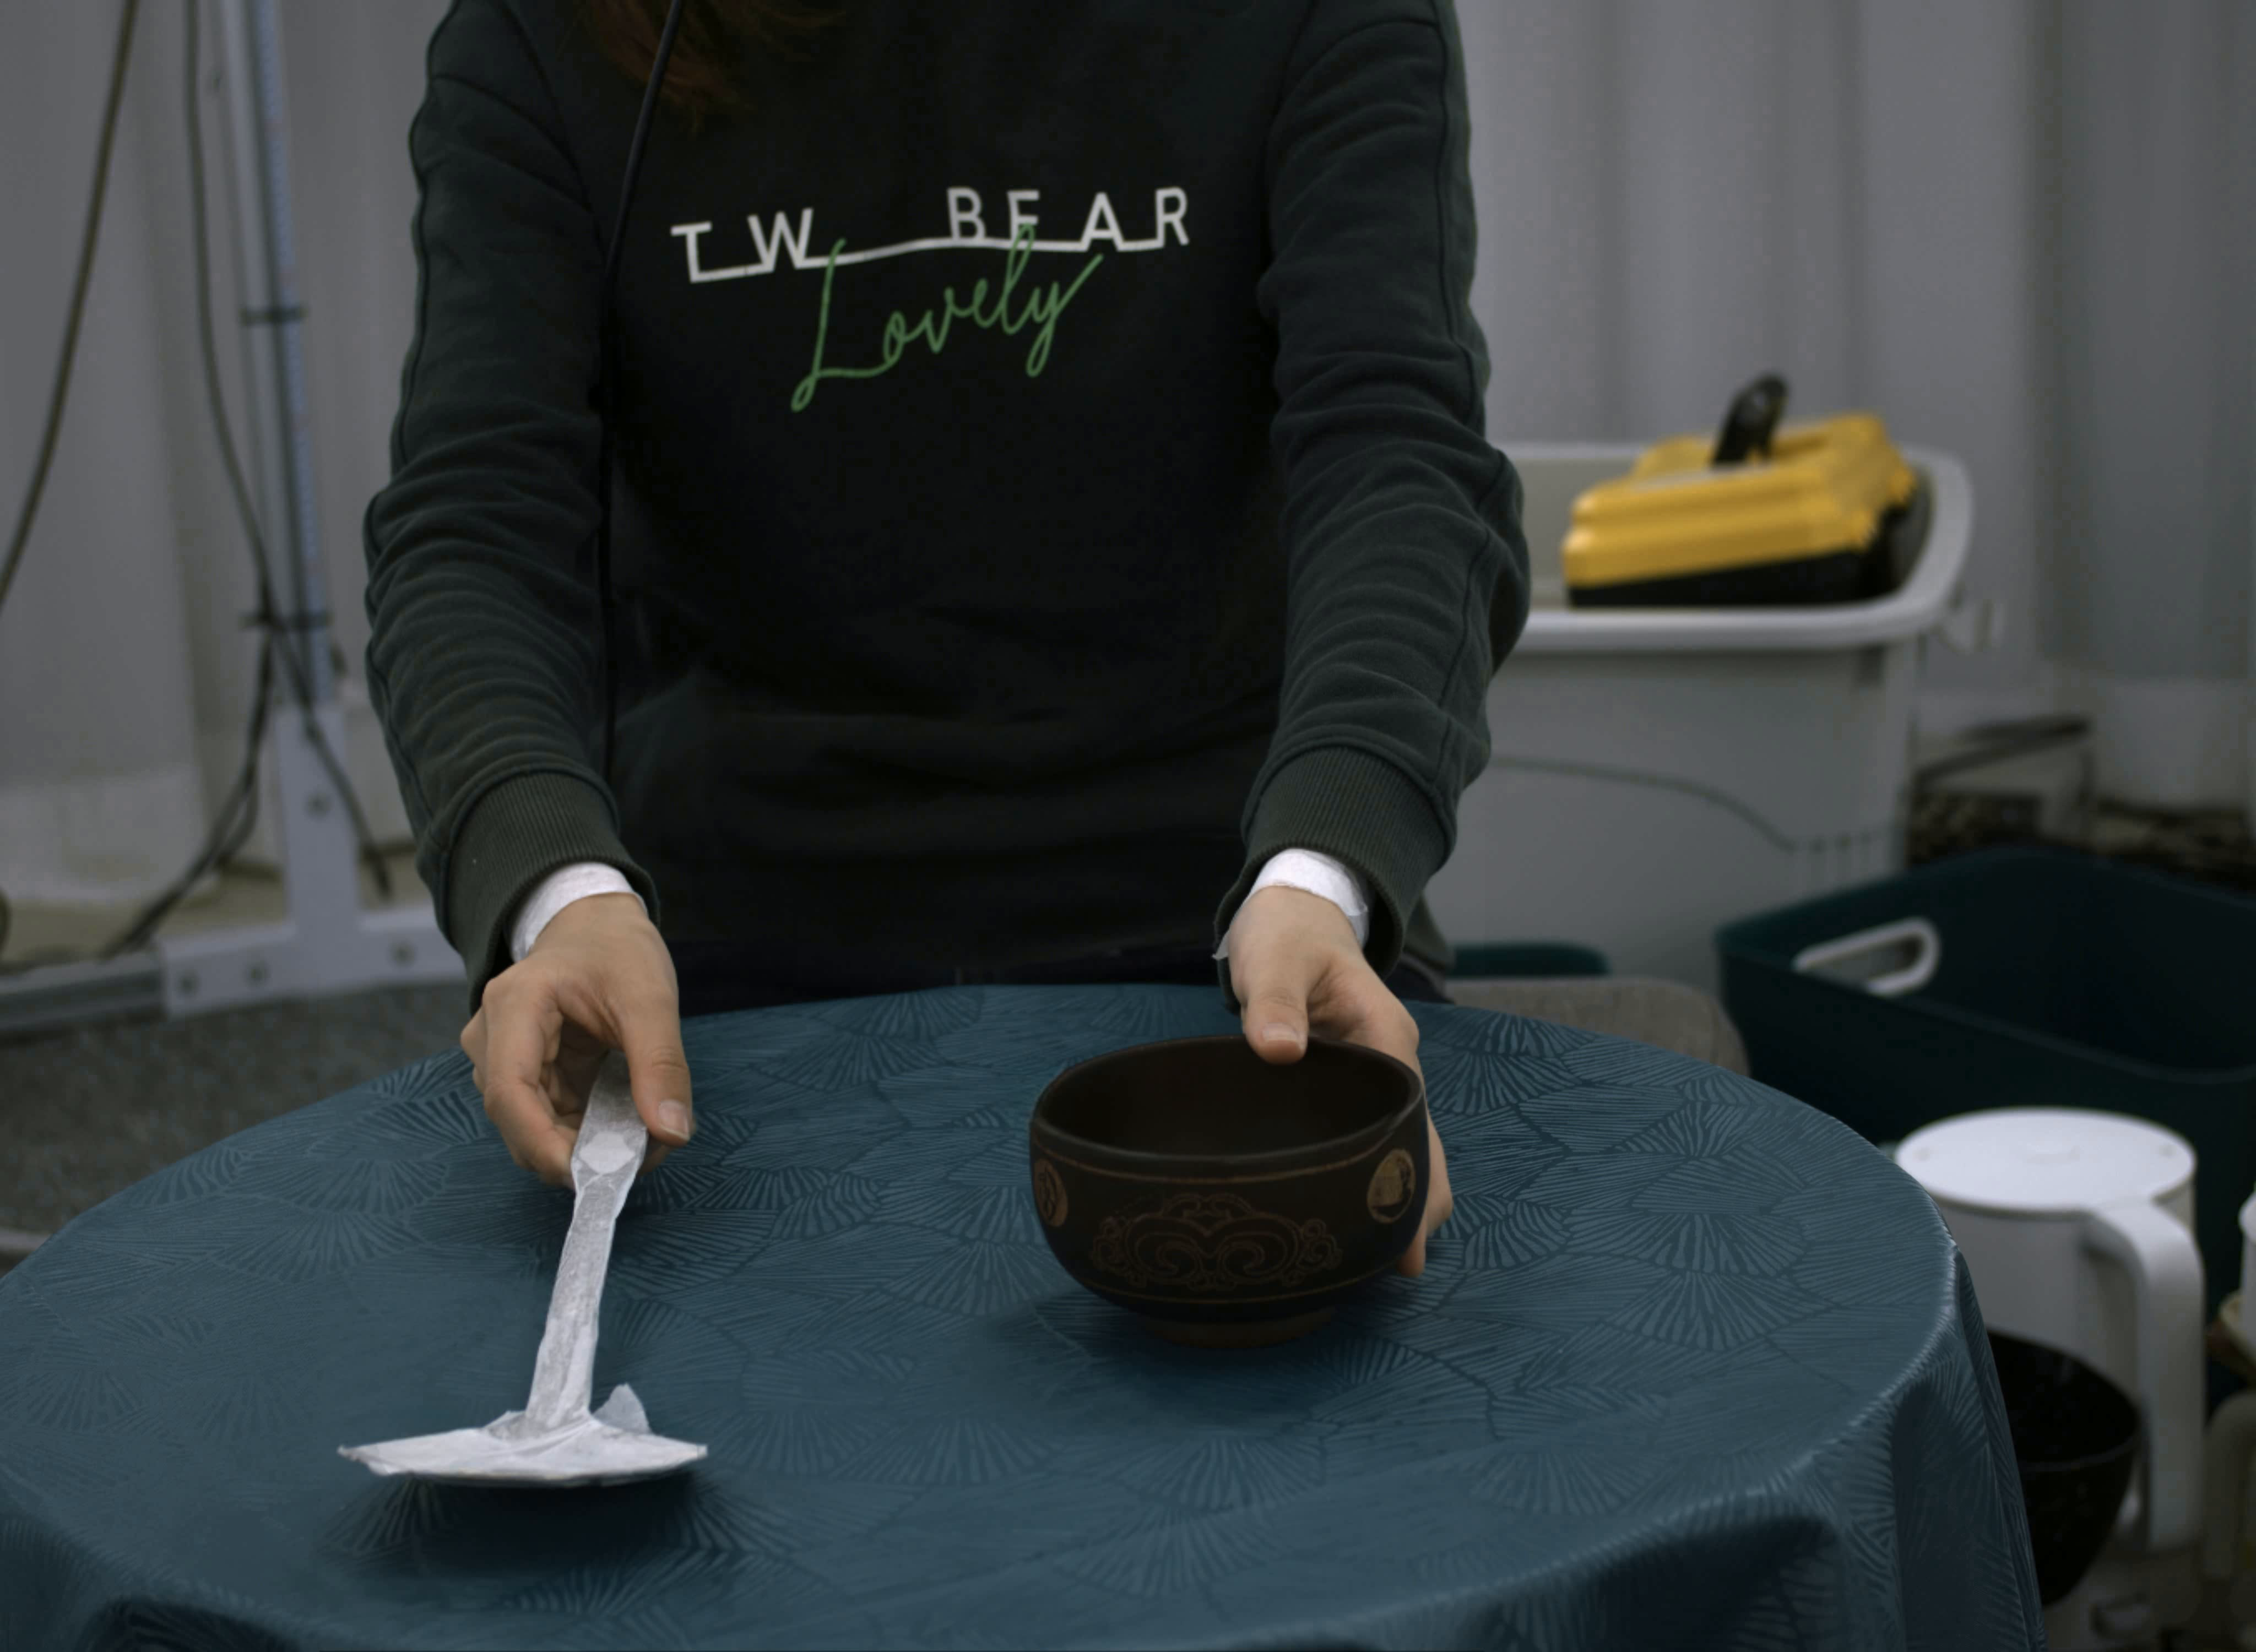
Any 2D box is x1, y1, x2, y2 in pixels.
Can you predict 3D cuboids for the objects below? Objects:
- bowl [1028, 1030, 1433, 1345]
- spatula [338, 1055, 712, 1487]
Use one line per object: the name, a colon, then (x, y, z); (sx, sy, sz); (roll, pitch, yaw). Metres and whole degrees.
bowl: (0.030, 0.109, 1.591); (0.117, 0.069, 0.119); (-2, 15, 0)
spatula: (-0.155, 0.122, 1.601); (0.098, 0.044, 0.368); (-1, 21, 2)
